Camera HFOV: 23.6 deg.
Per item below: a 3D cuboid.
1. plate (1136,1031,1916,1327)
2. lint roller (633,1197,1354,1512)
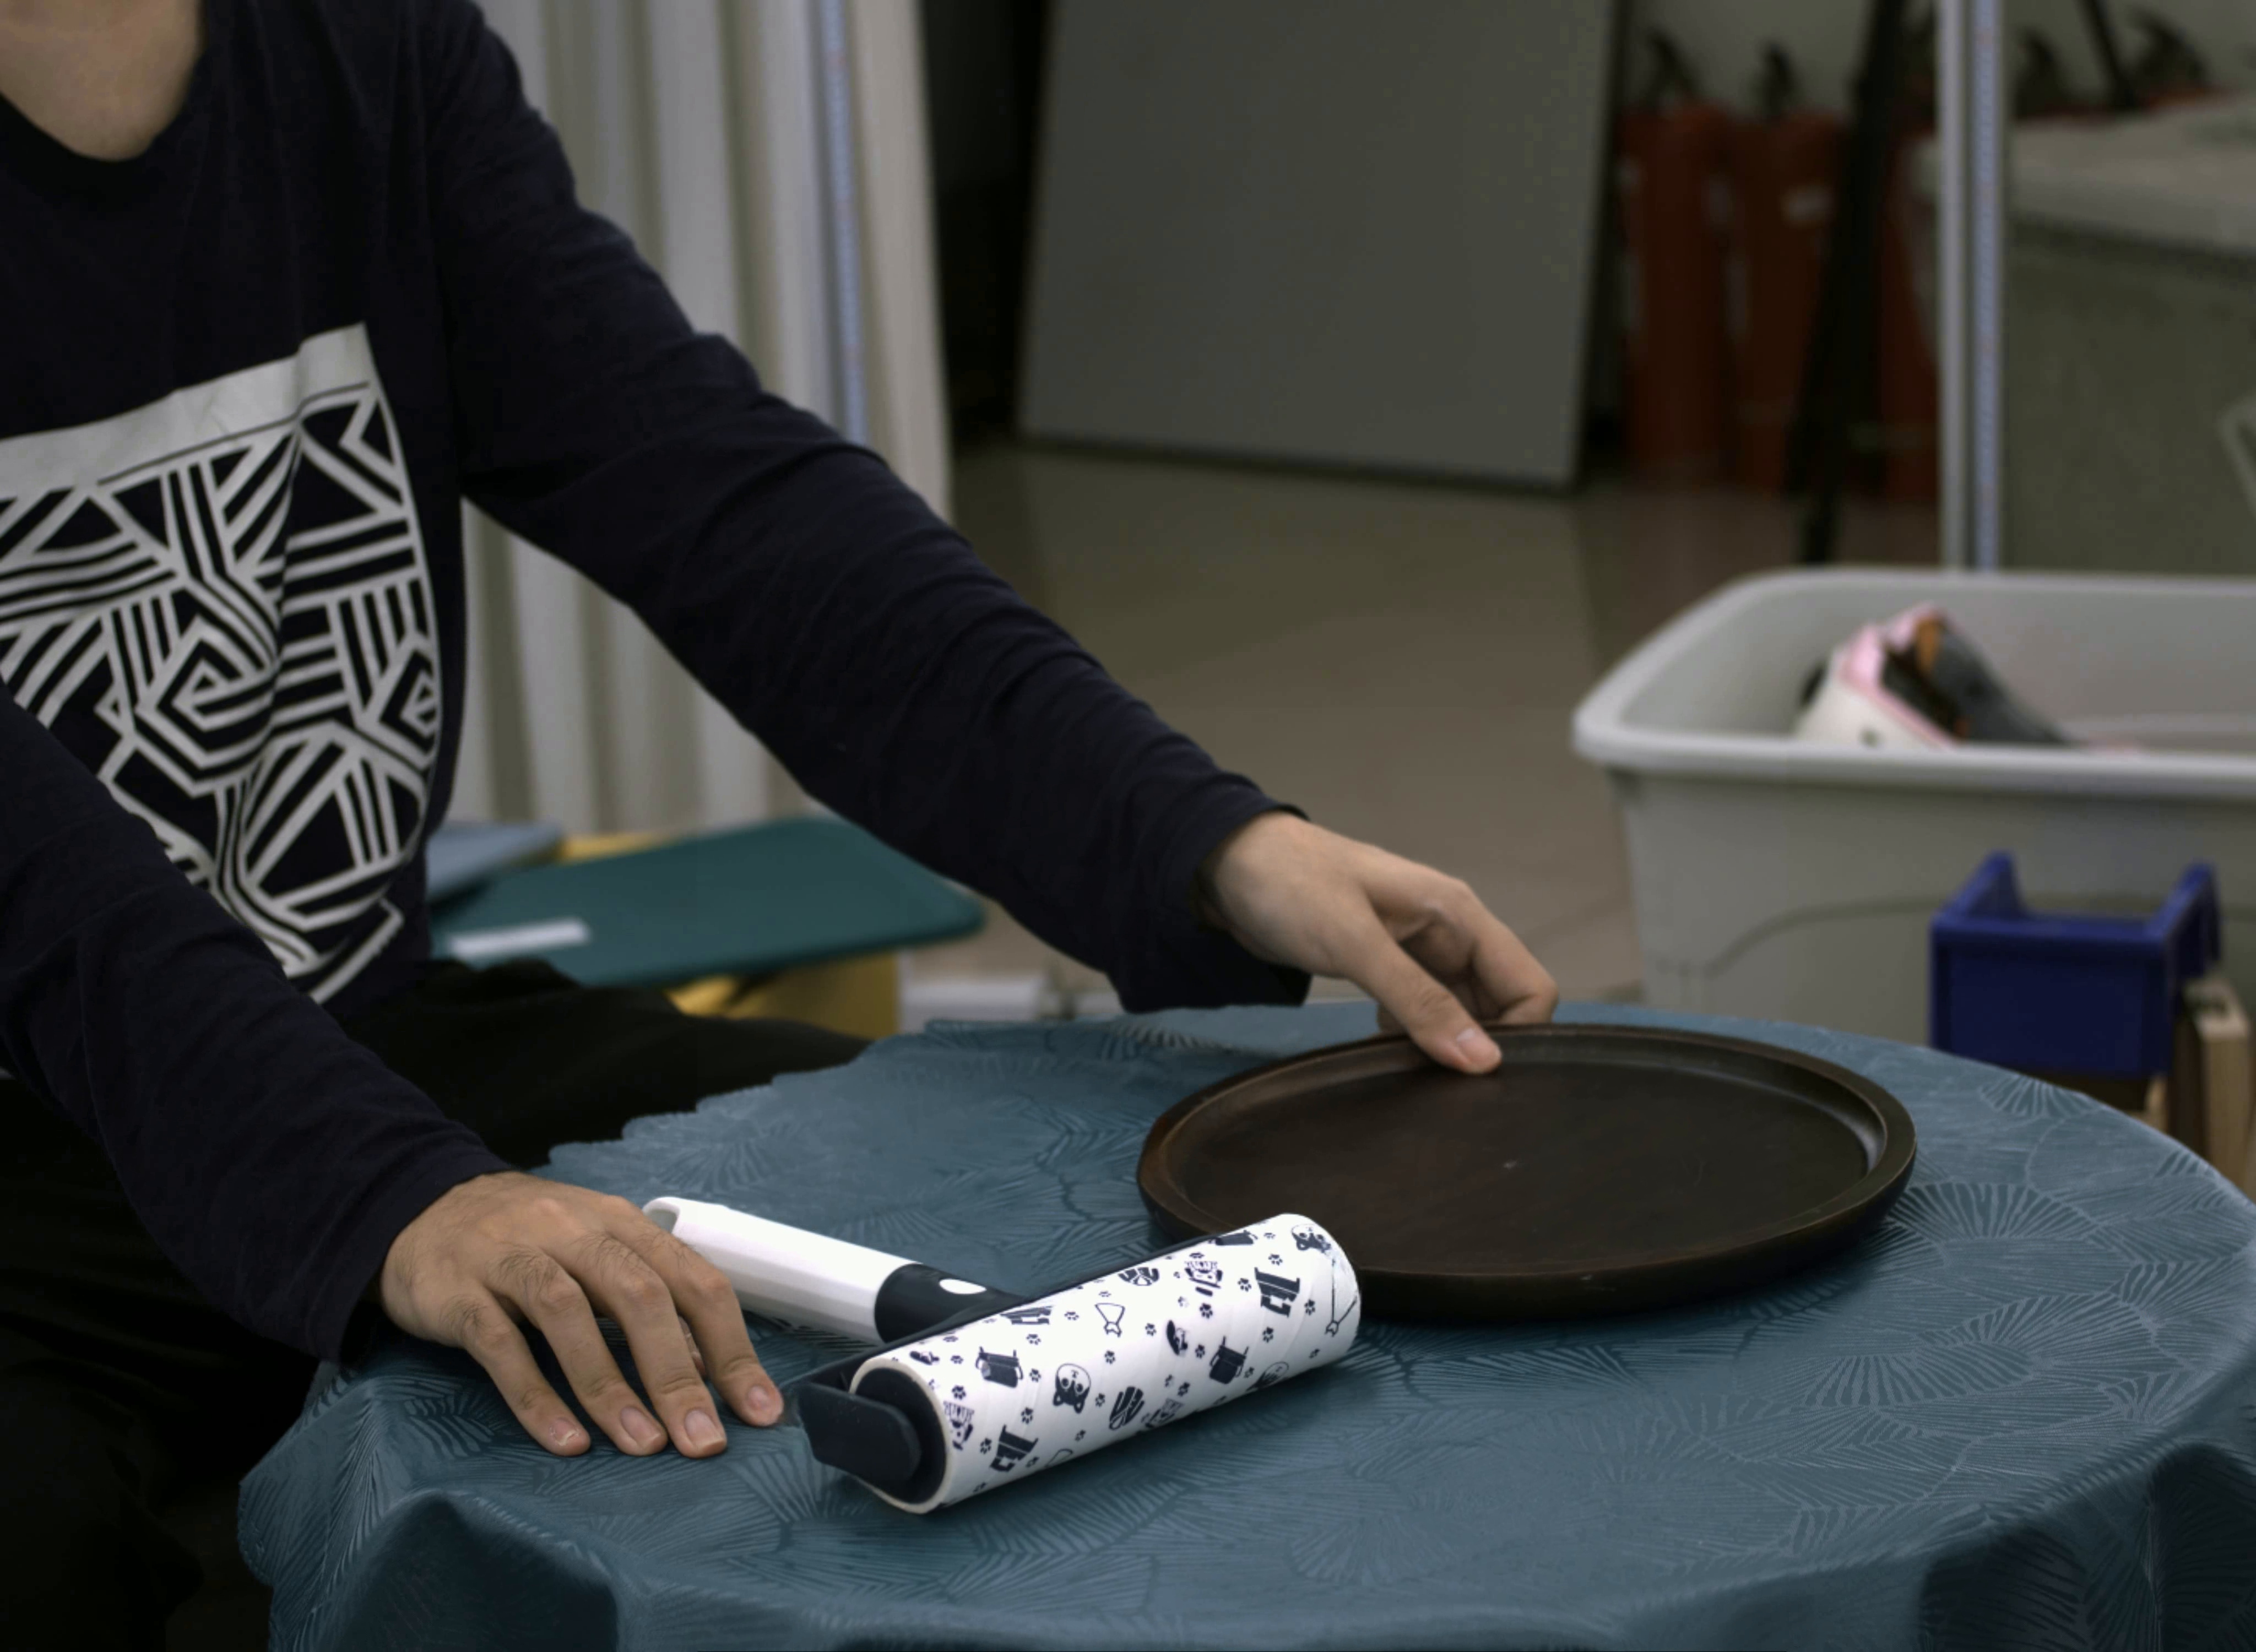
[{"bbox_3d":[0.127,0.111,1.728,0.251,0.029,0.255,-5,13,0],"label":"plate"},{"bbox_3d":[-0.073,0.142,1.622,0.172,0.051,0.249,-17,16,-39],"label":"lint roller"}]
